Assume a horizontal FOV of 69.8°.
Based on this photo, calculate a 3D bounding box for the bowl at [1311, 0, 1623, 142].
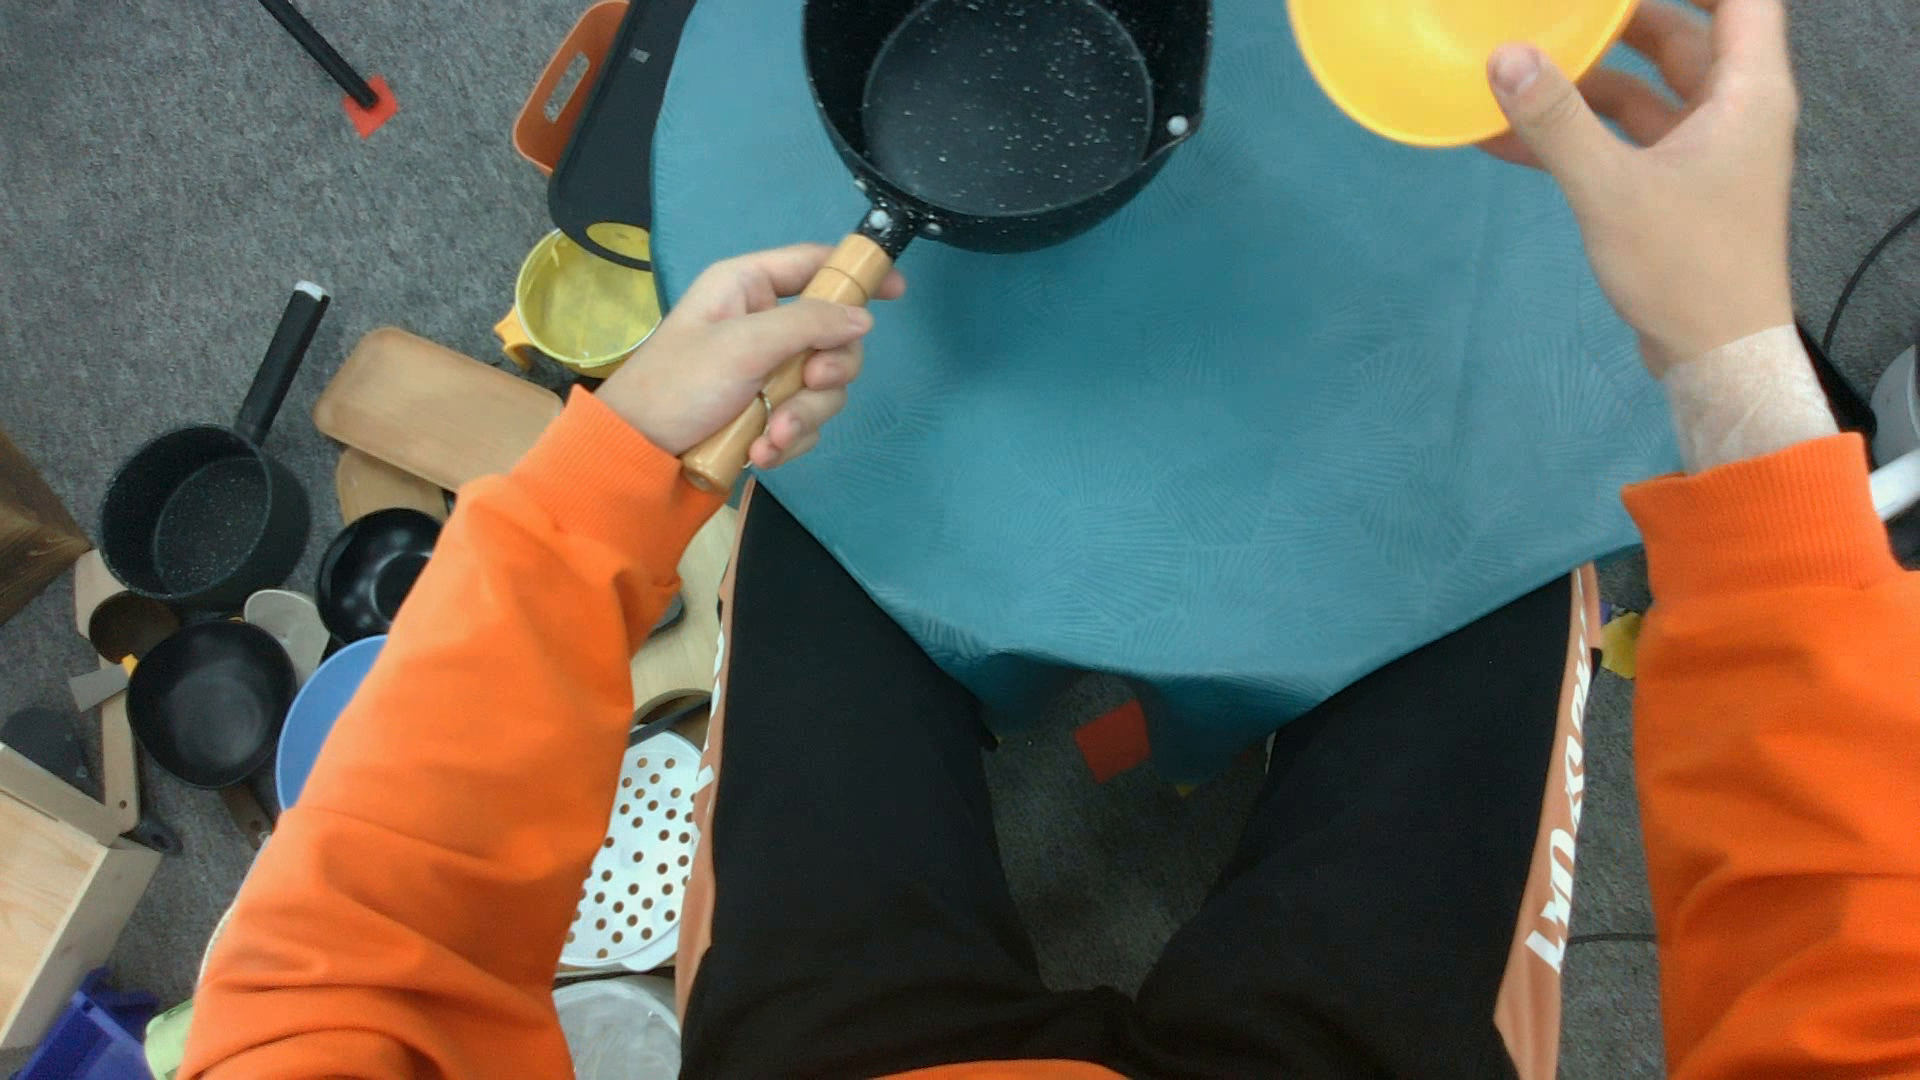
[{"bbox_3d":[0.204,-0.228,0.526,0.060,0.144,0.145,-14,72,-27],"label":"bowl"}]

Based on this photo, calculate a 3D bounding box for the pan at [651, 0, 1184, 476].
[{"bbox_3d":[-0.030,-0.166,0.635,0.207,0.108,0.343,29,80,5],"label":"pan"}]
